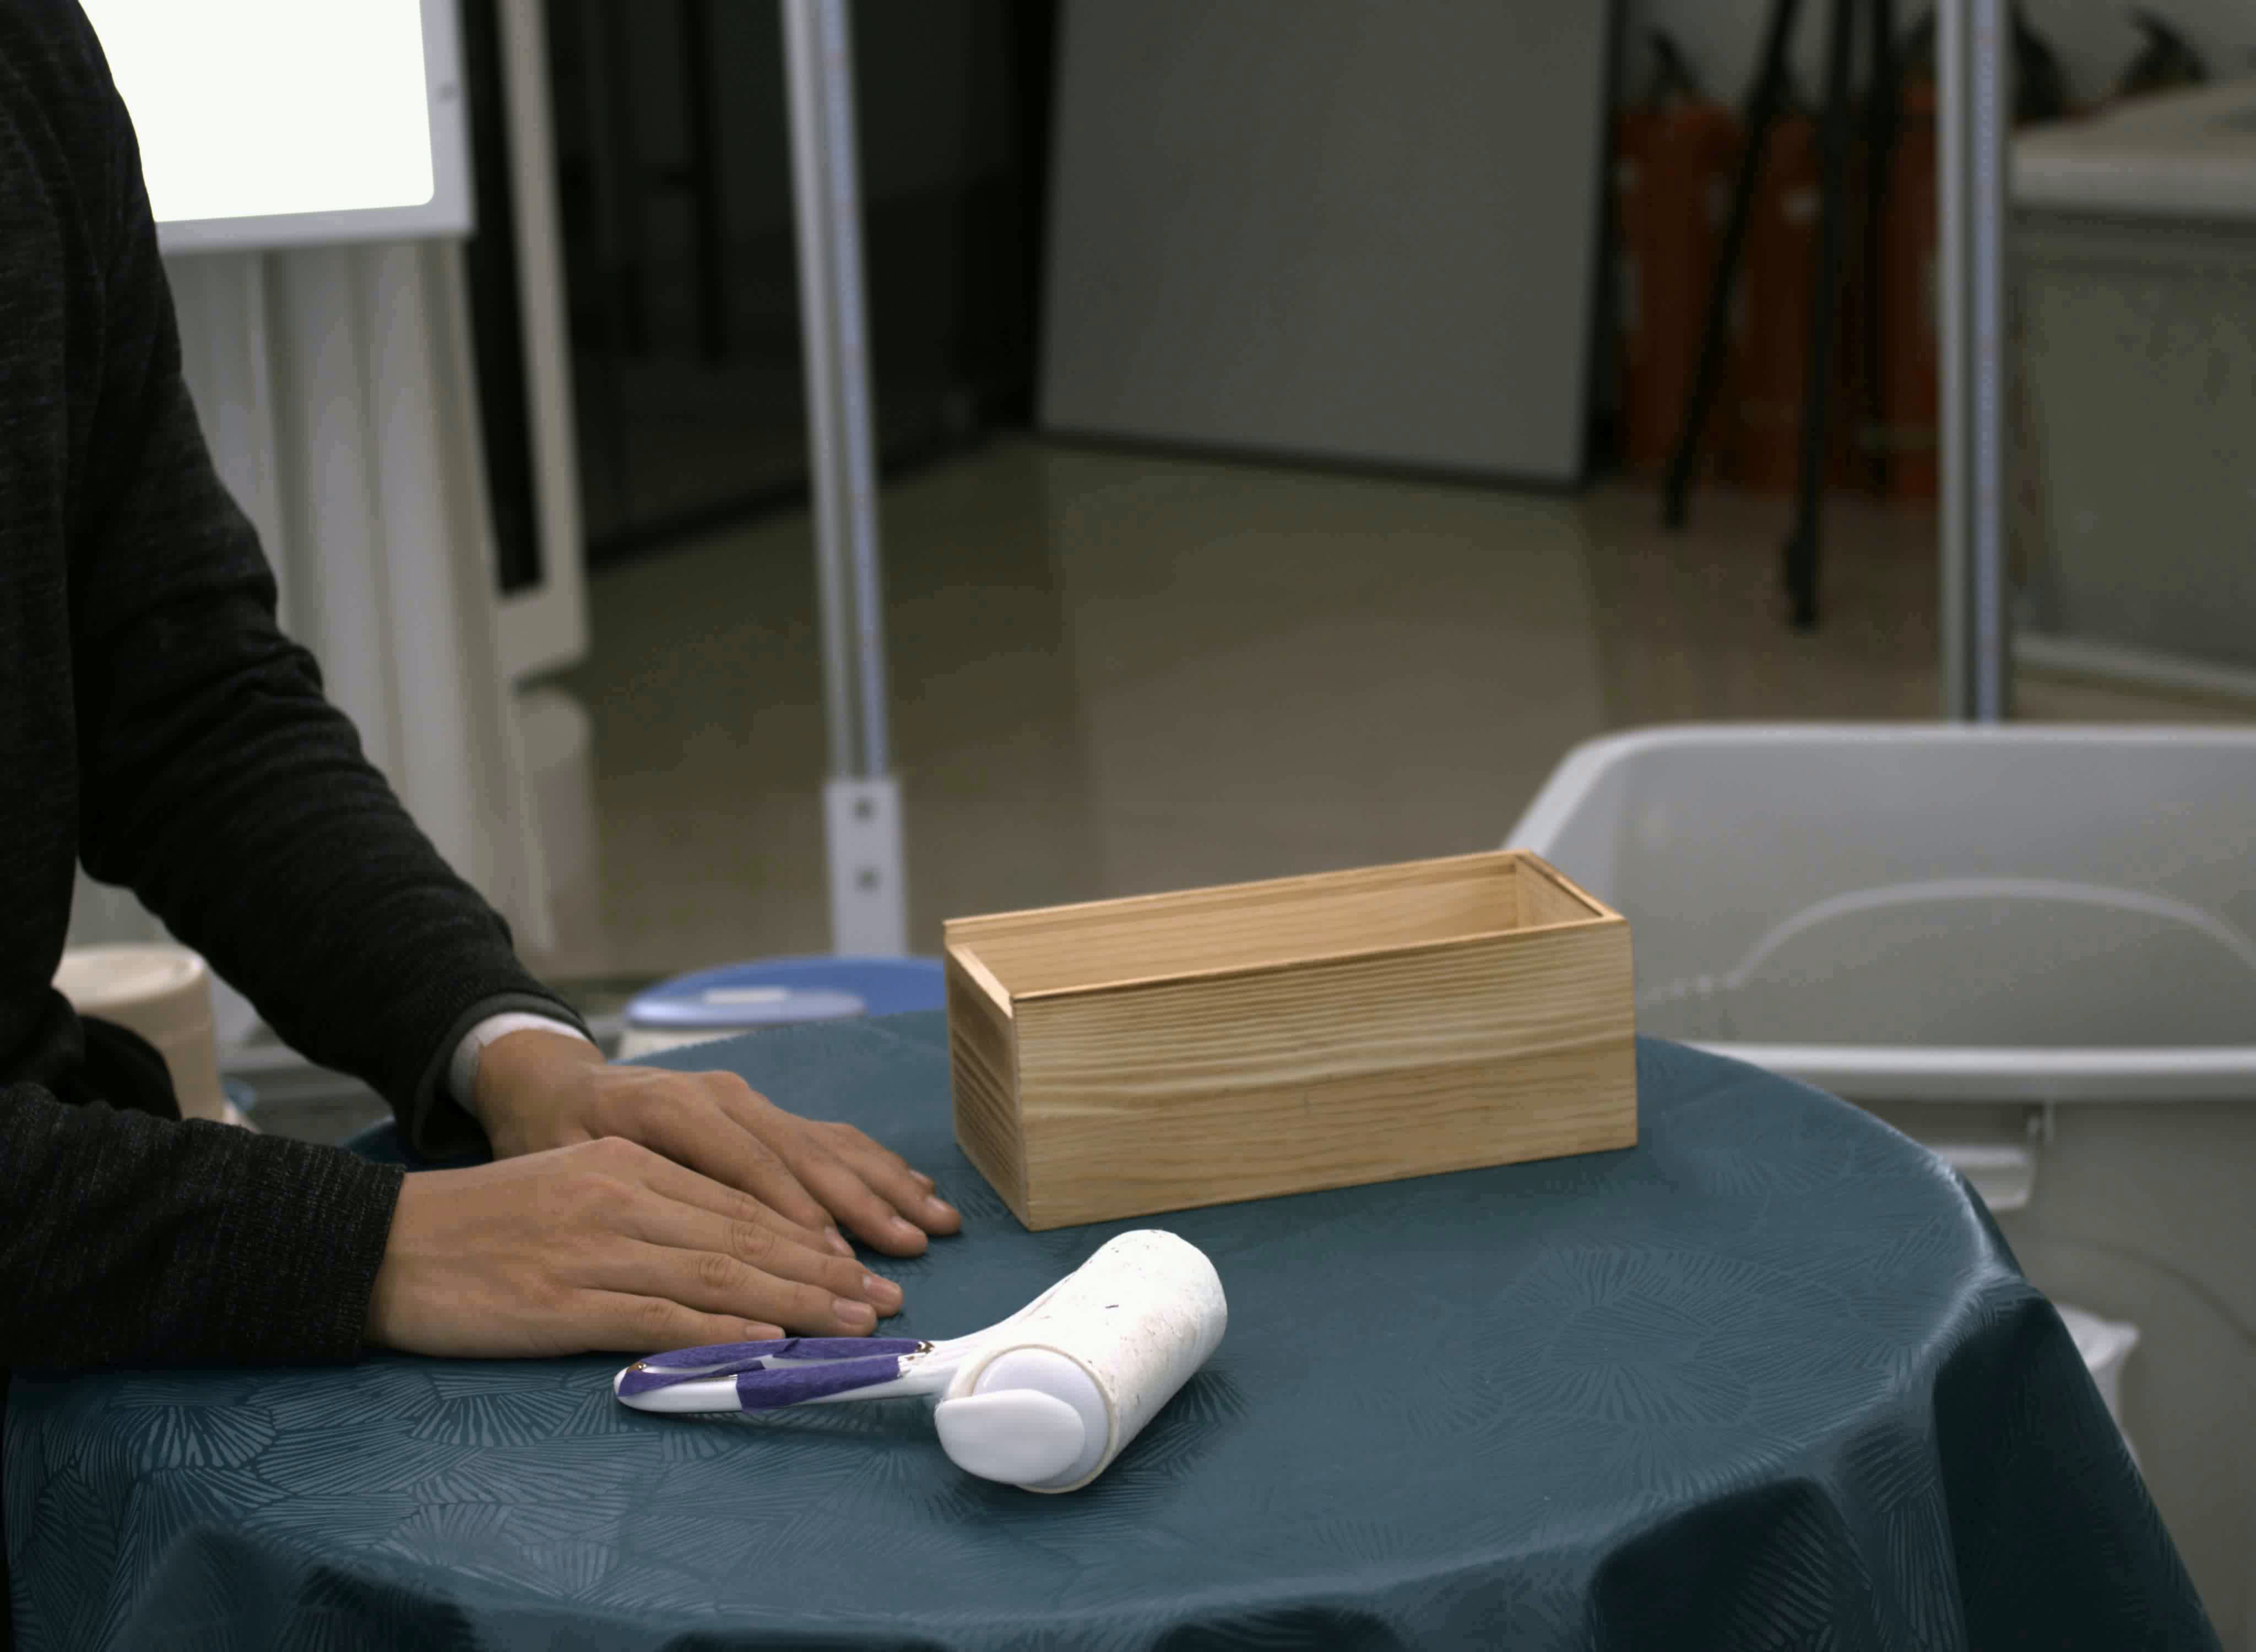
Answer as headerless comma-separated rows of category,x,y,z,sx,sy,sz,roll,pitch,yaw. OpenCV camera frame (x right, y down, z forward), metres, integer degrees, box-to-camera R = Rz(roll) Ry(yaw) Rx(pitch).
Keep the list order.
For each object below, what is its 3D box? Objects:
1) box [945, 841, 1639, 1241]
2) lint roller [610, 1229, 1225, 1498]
box,0.054,0.069,1.796,0.207,0.081,0.108,-8,14,-13
lint roller,-0.069,0.150,1.571,0.181,0.051,0.131,4,17,22
